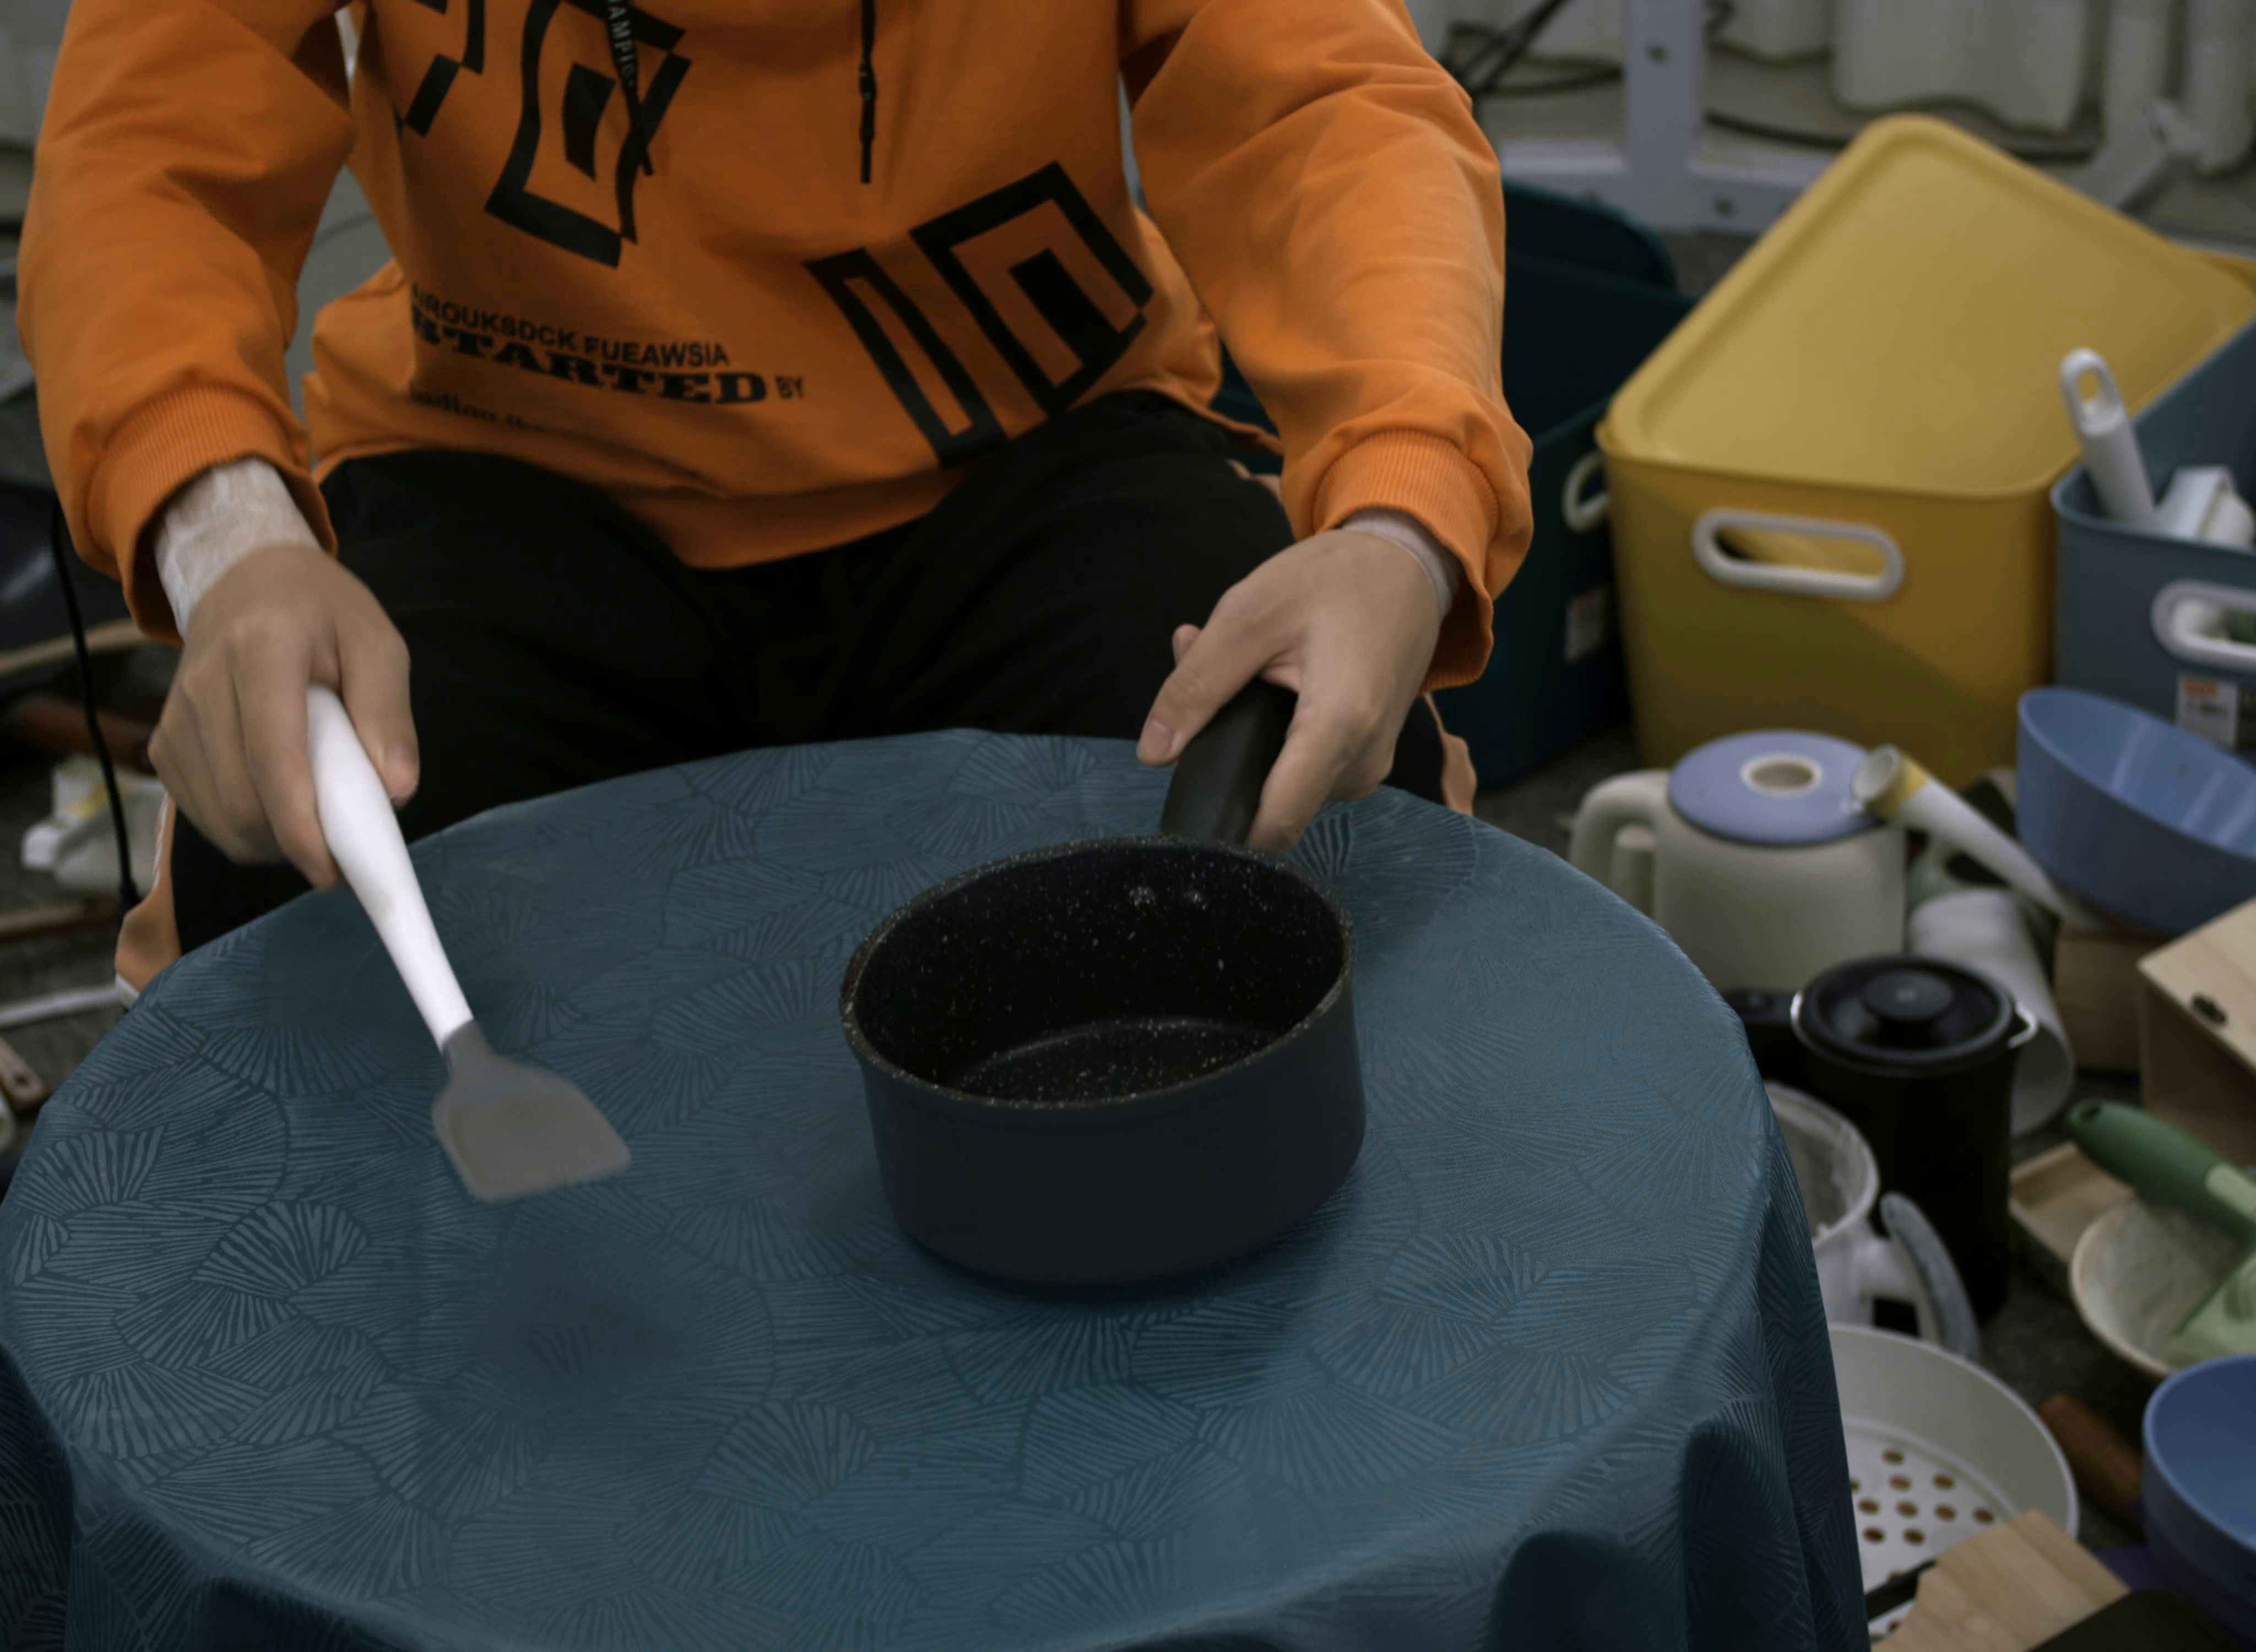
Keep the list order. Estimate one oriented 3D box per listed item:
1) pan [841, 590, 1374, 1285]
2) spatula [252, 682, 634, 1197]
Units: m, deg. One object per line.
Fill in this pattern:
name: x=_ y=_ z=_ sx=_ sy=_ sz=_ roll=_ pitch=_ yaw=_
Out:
pan: x=0.019 y=0.034 z=1.913 sx=0.170 sy=0.085 sz=0.335 roll=4 pitch=32 yaw=19
spatula: x=-0.232 y=0.040 z=1.847 sx=0.059 sy=0.032 sz=0.290 roll=-9 pitch=36 yaw=-22
